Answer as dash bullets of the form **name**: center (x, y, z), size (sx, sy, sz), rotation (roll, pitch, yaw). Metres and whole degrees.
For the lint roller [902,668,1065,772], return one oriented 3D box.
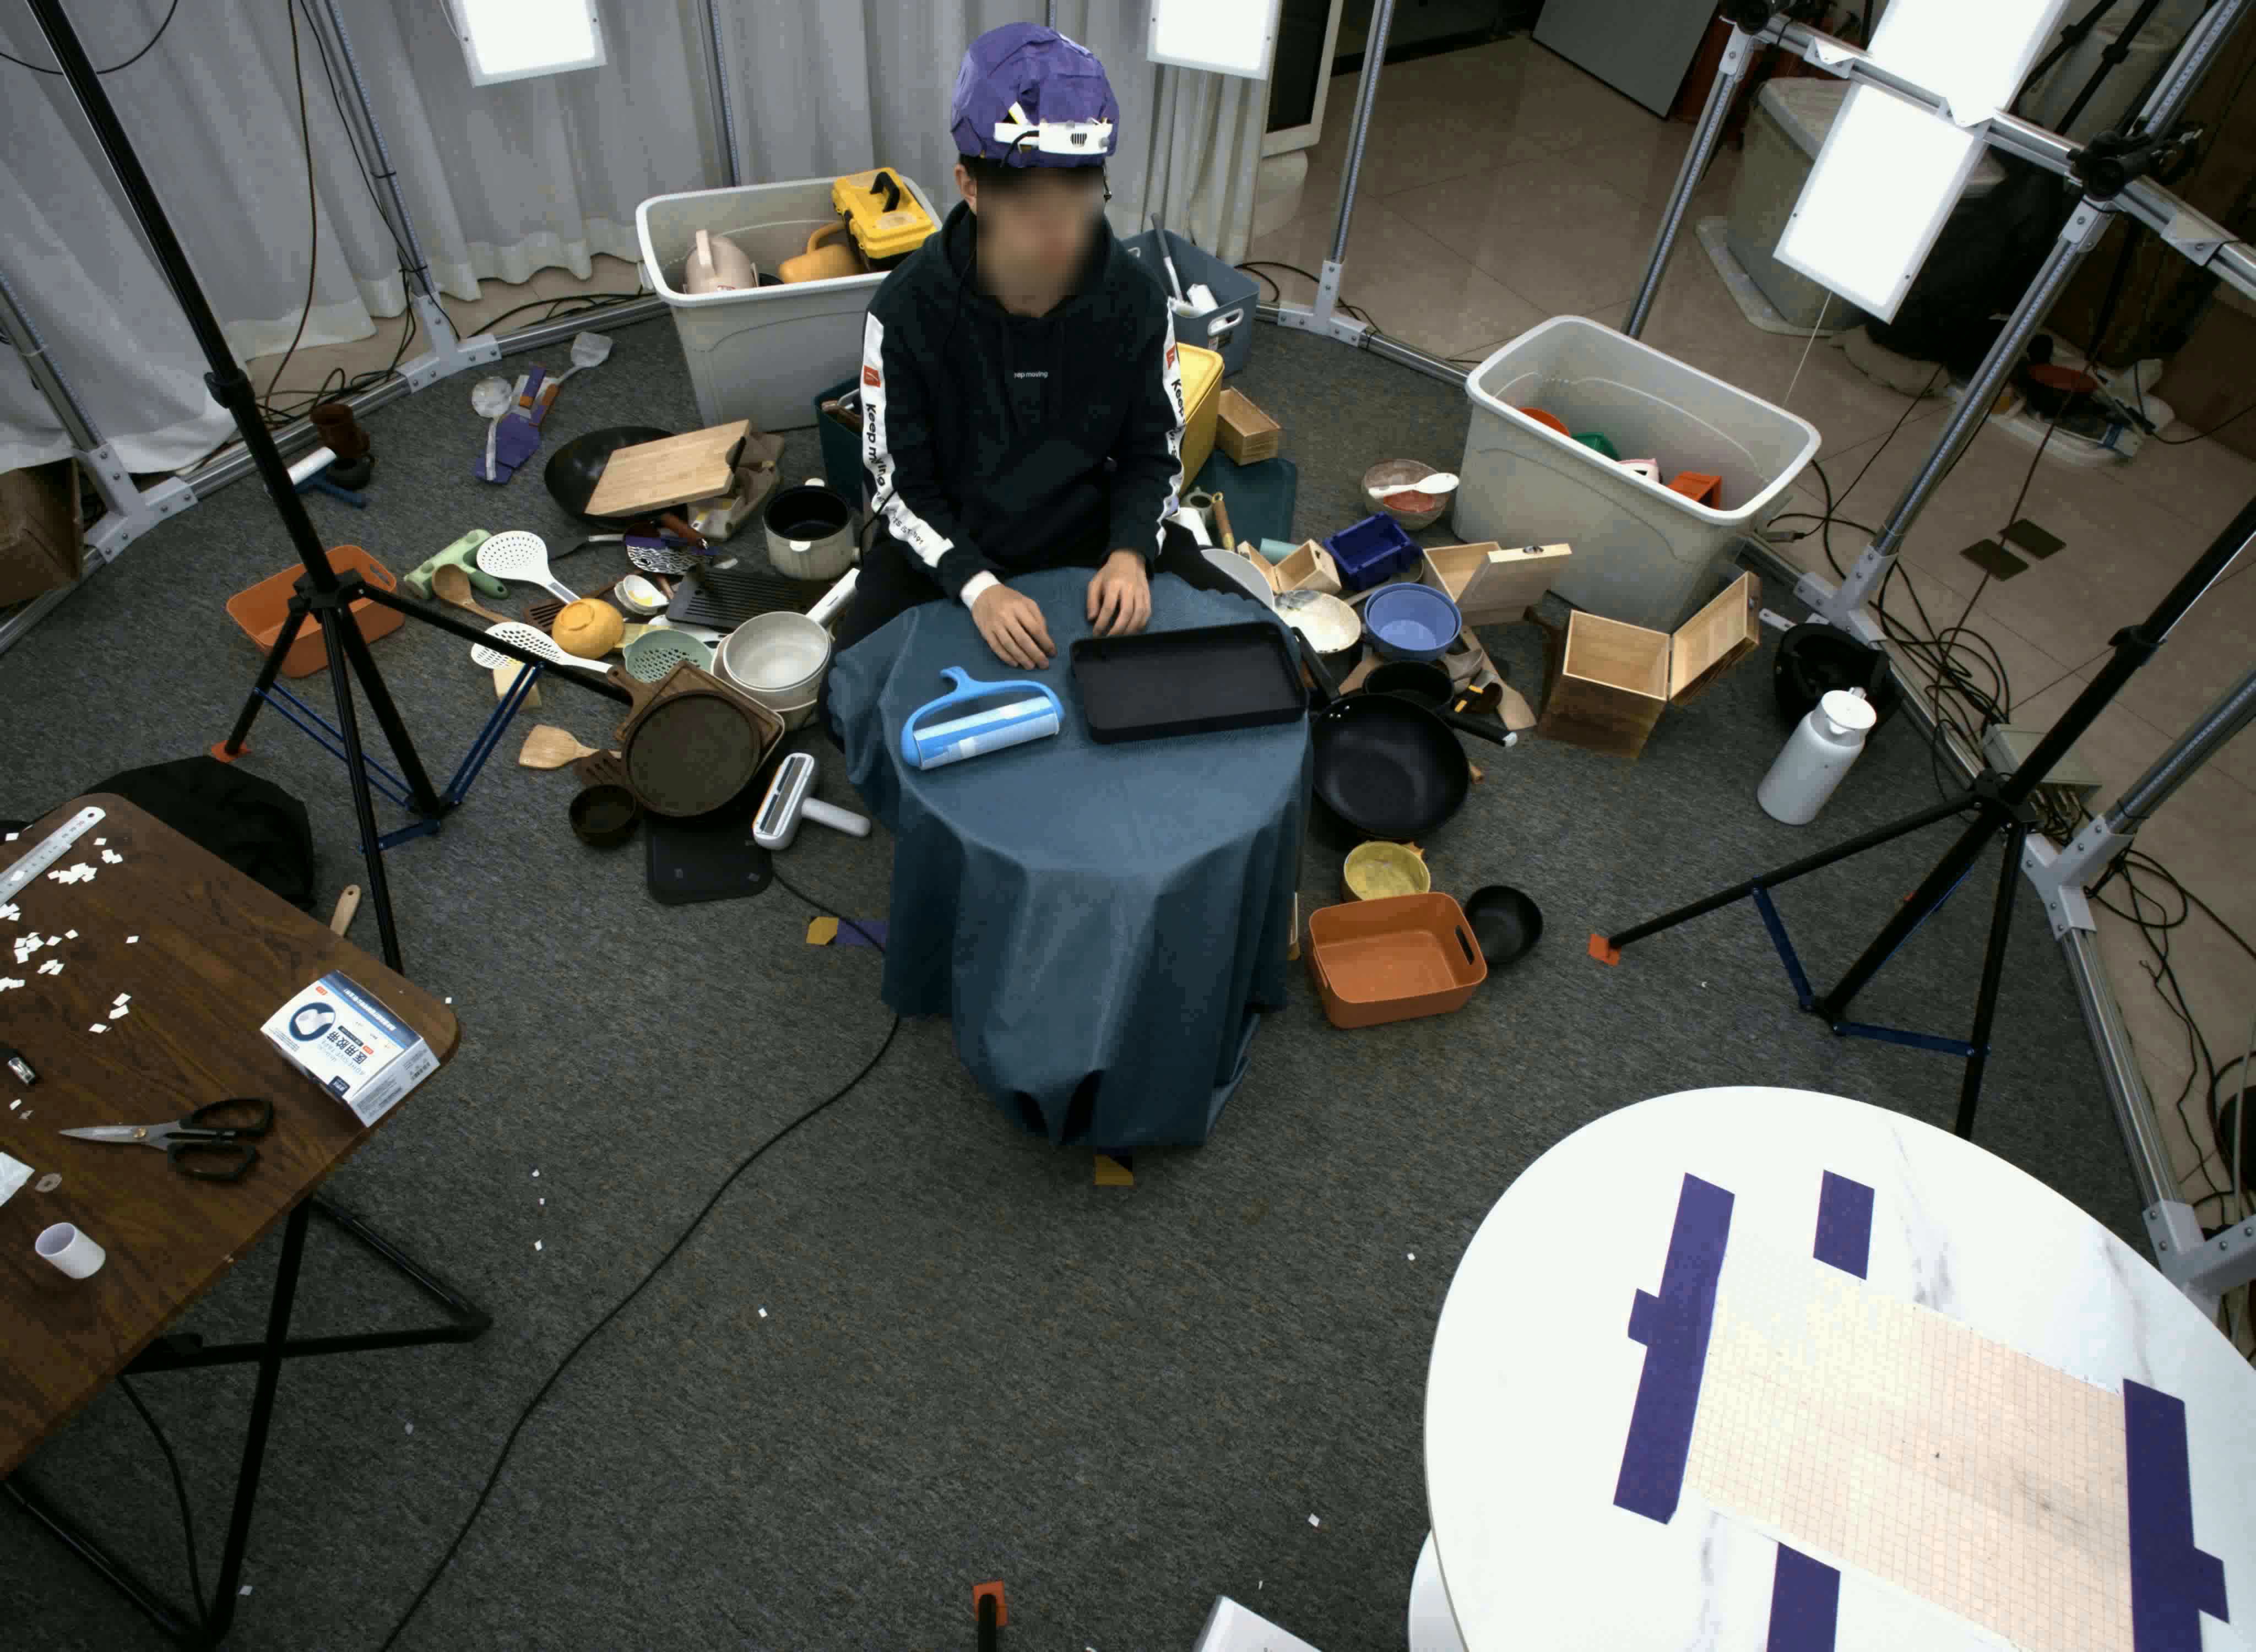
- **lint roller**: center (-0.219, -0.169, 1.764), size (0.229, 0.066, 0.184), rotation (-20, 55, -18)

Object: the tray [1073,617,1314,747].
- **tray**: center (0.090, -0.208, 1.833), size (0.318, 0.036, 0.189), rotation (-9, 50, -10)
